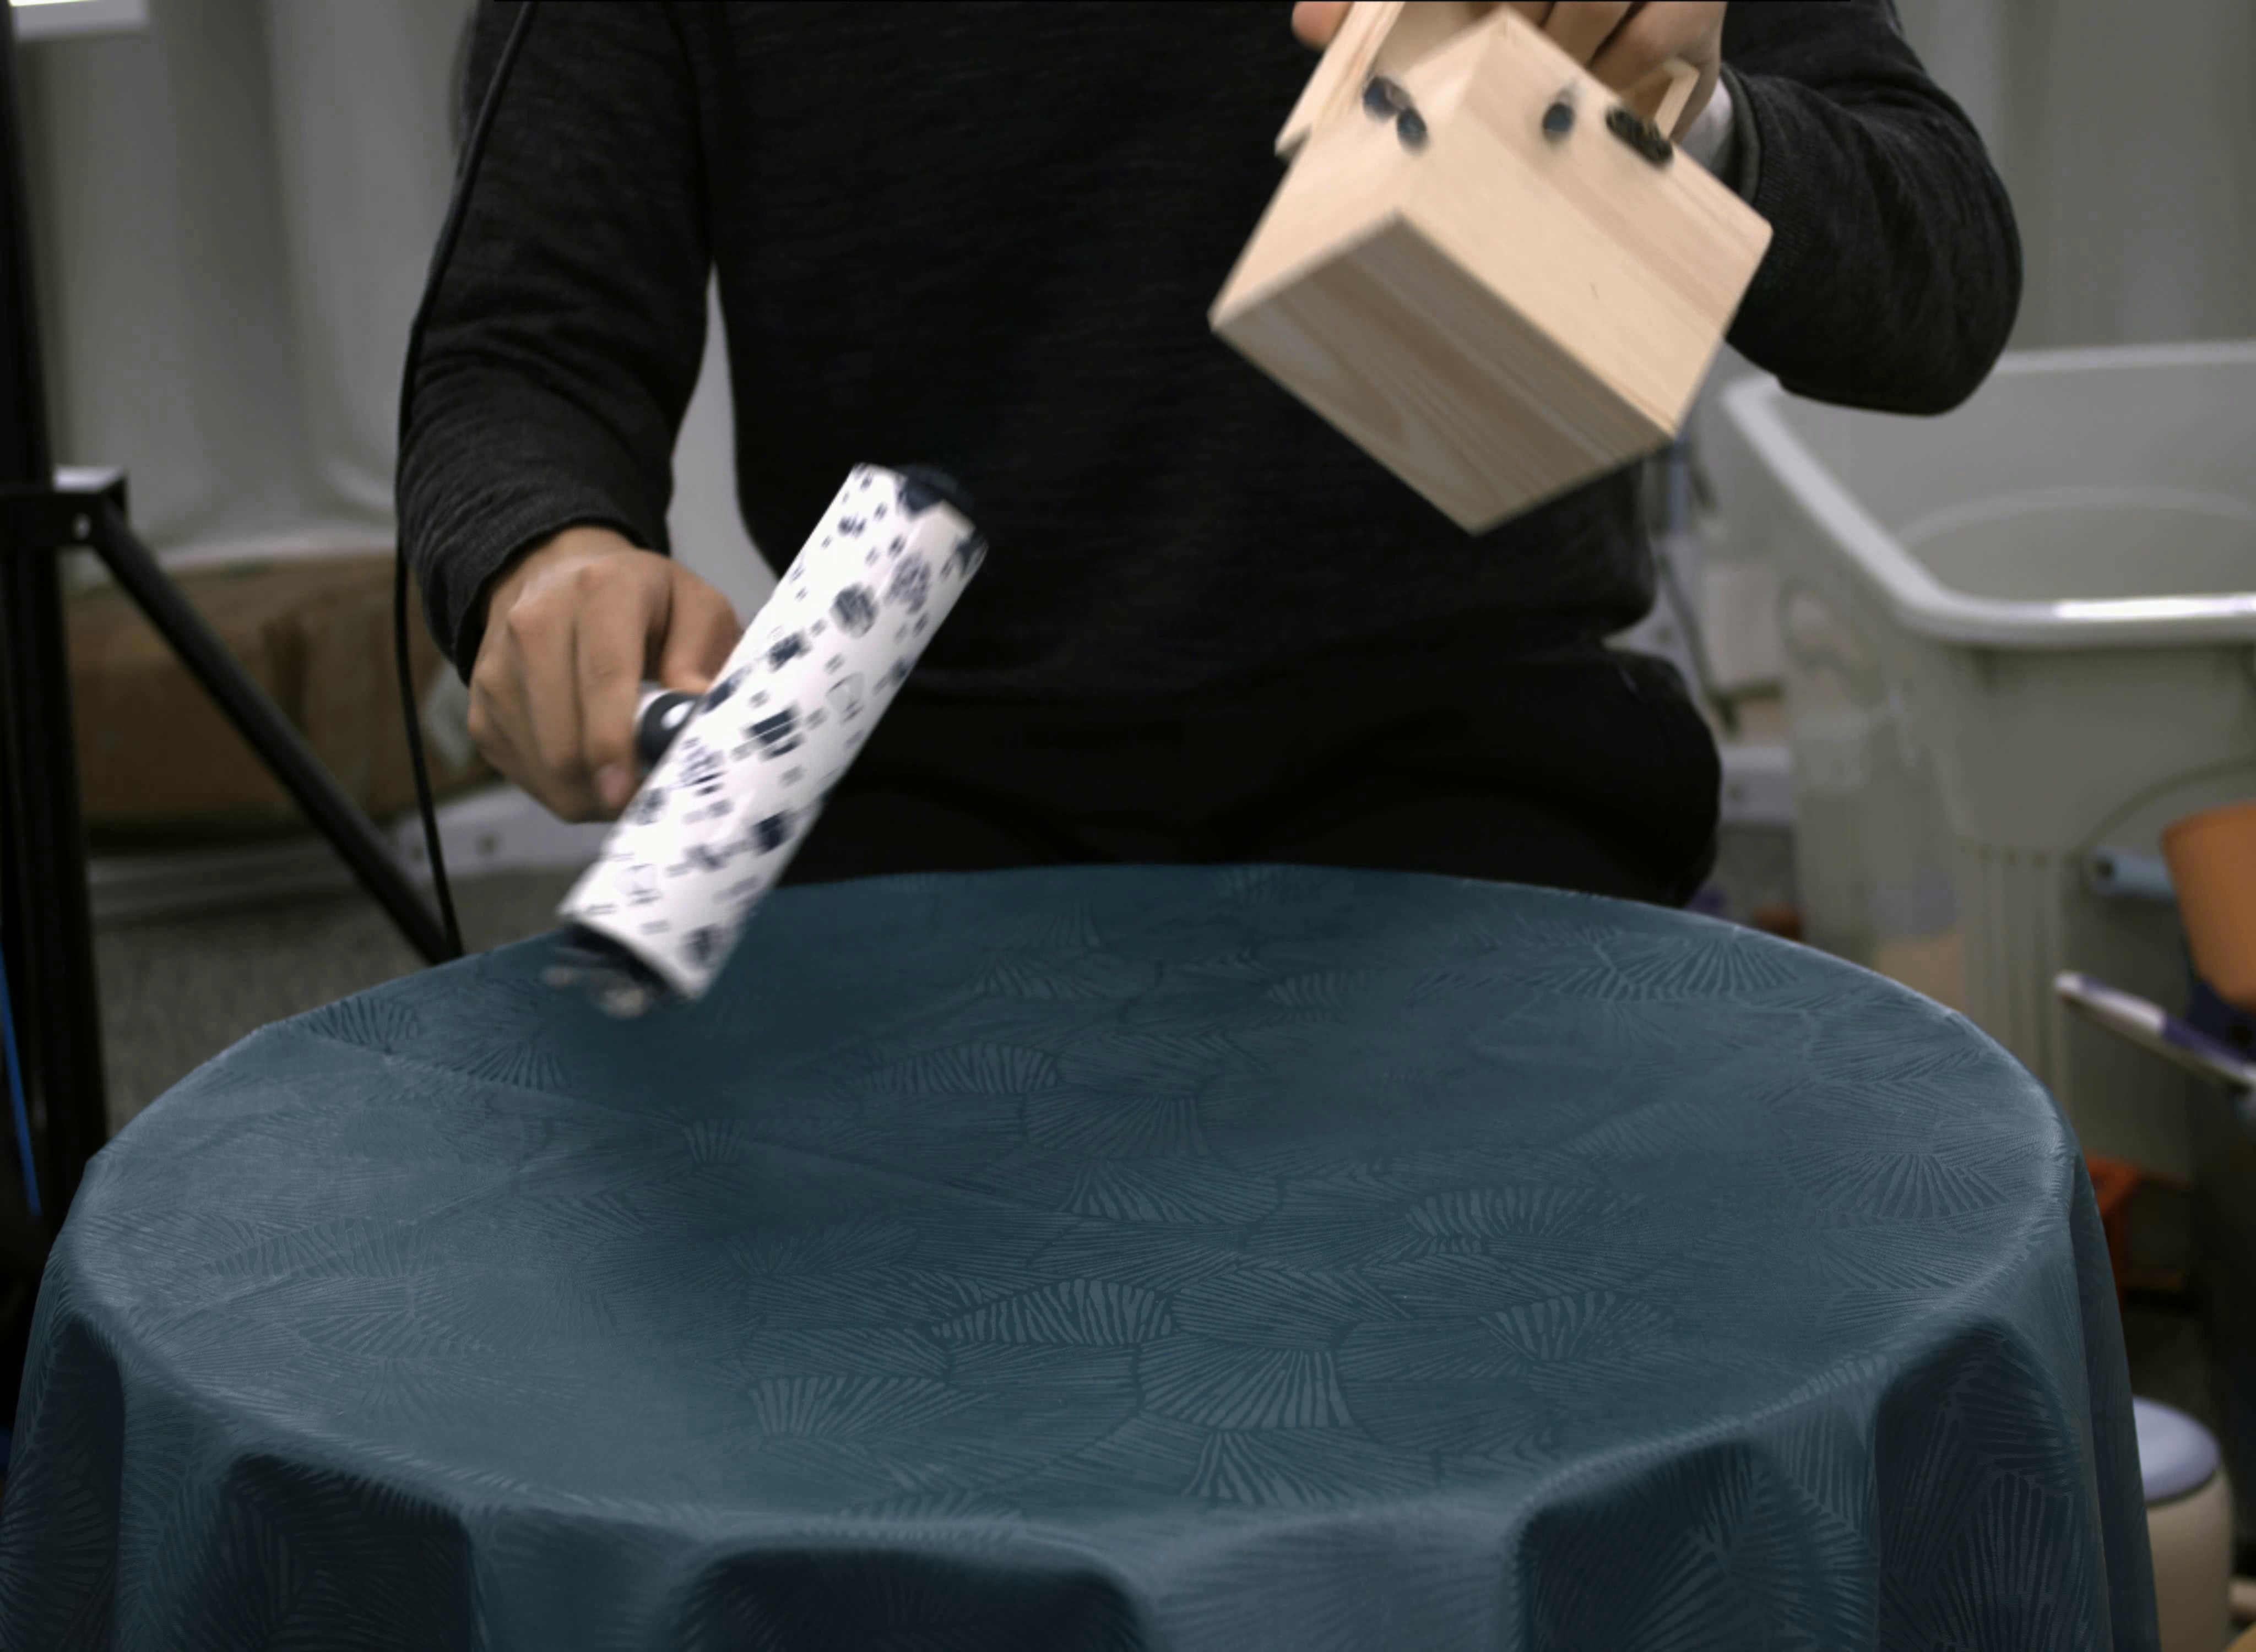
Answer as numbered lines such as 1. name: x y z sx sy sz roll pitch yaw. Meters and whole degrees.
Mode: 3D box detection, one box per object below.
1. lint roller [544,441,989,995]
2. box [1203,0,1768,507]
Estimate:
1. lint roller: -0.140 -0.032 1.655 0.049 0.176 0.251 33 -13 -22
2. box: 0.118 -0.199 1.515 0.136 0.101 0.184 -25 30 57
